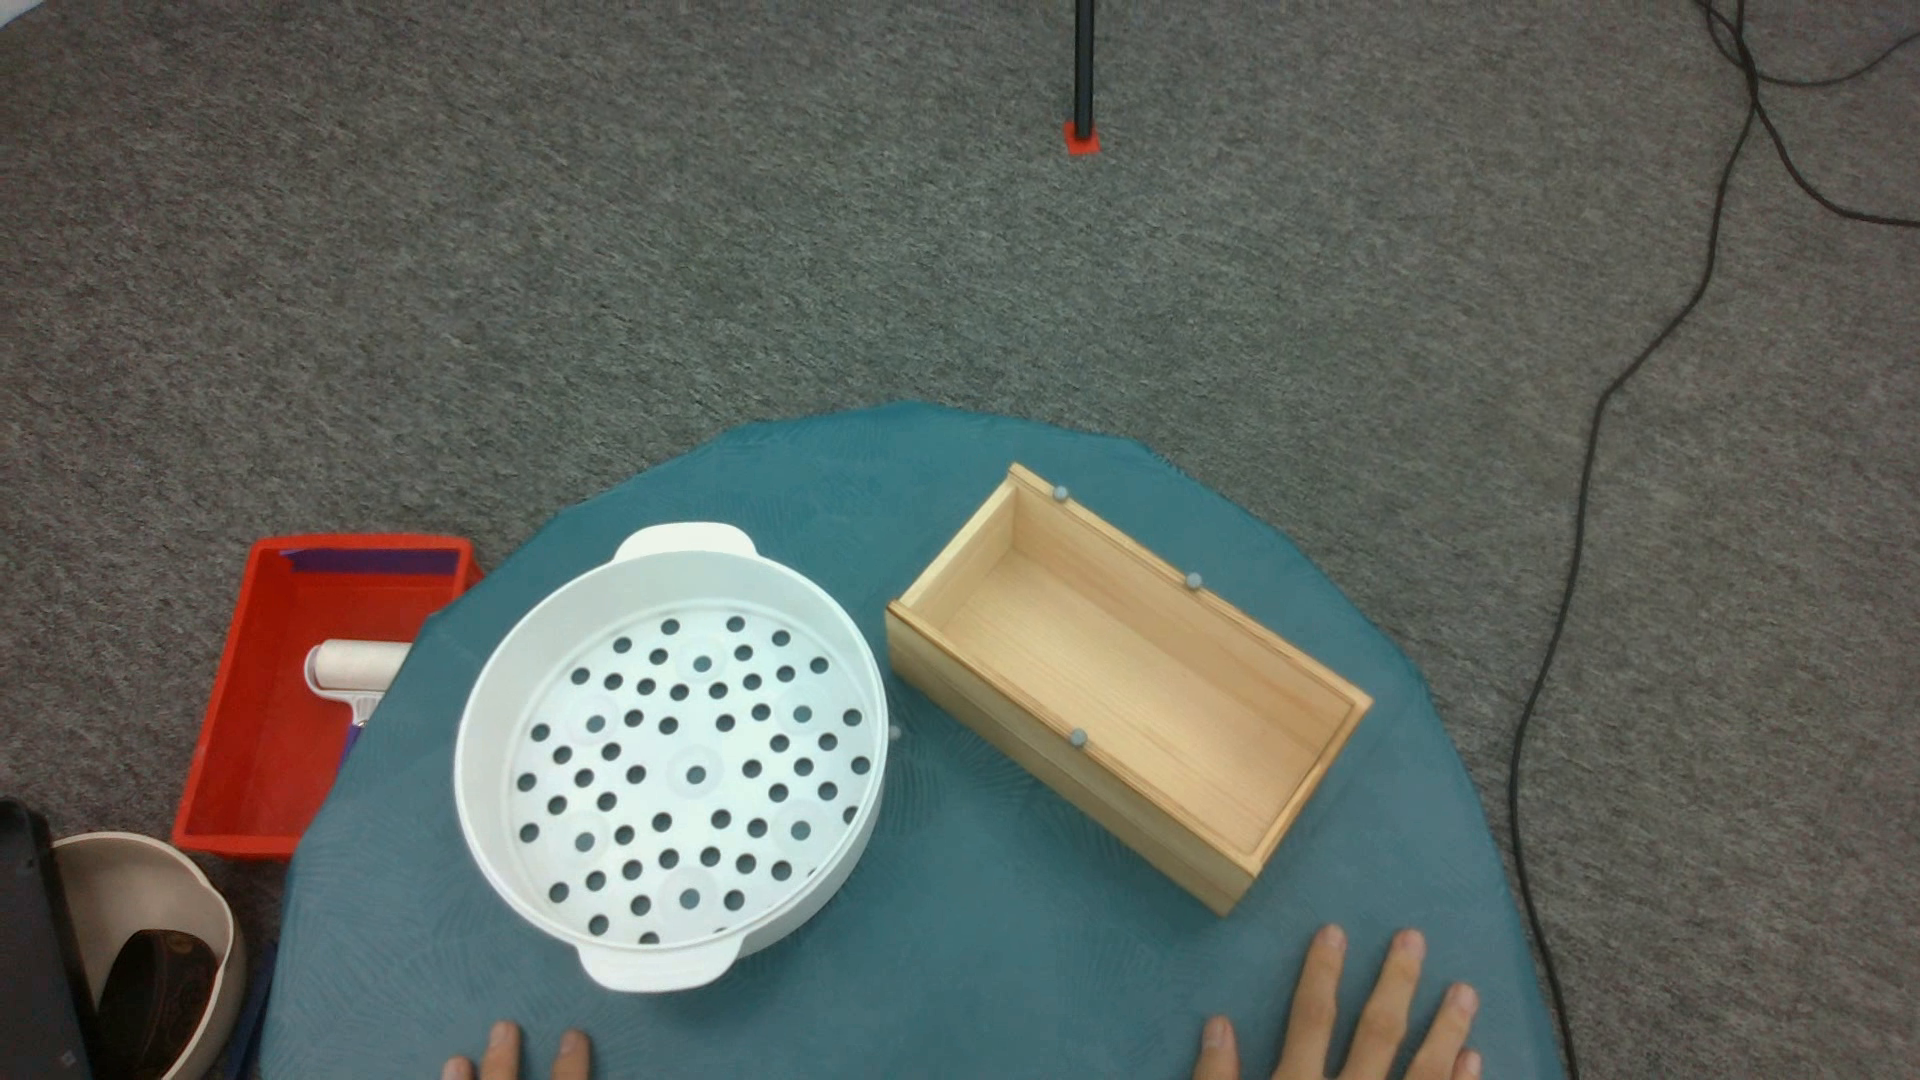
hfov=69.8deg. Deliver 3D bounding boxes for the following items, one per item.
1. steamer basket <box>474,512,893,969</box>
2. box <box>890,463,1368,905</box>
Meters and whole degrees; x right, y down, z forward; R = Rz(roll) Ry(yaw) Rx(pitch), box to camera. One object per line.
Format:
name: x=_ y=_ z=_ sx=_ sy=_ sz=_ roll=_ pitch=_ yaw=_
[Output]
steamer basket: x=-0.133 y=0.101 z=0.690 sx=0.202 sy=0.069 sz=0.231 roll=-2 pitch=63 yaw=-1
box: x=0.081 y=0.071 z=0.699 sx=0.211 sy=0.080 sz=0.108 roll=34 pitch=68 yaw=17
